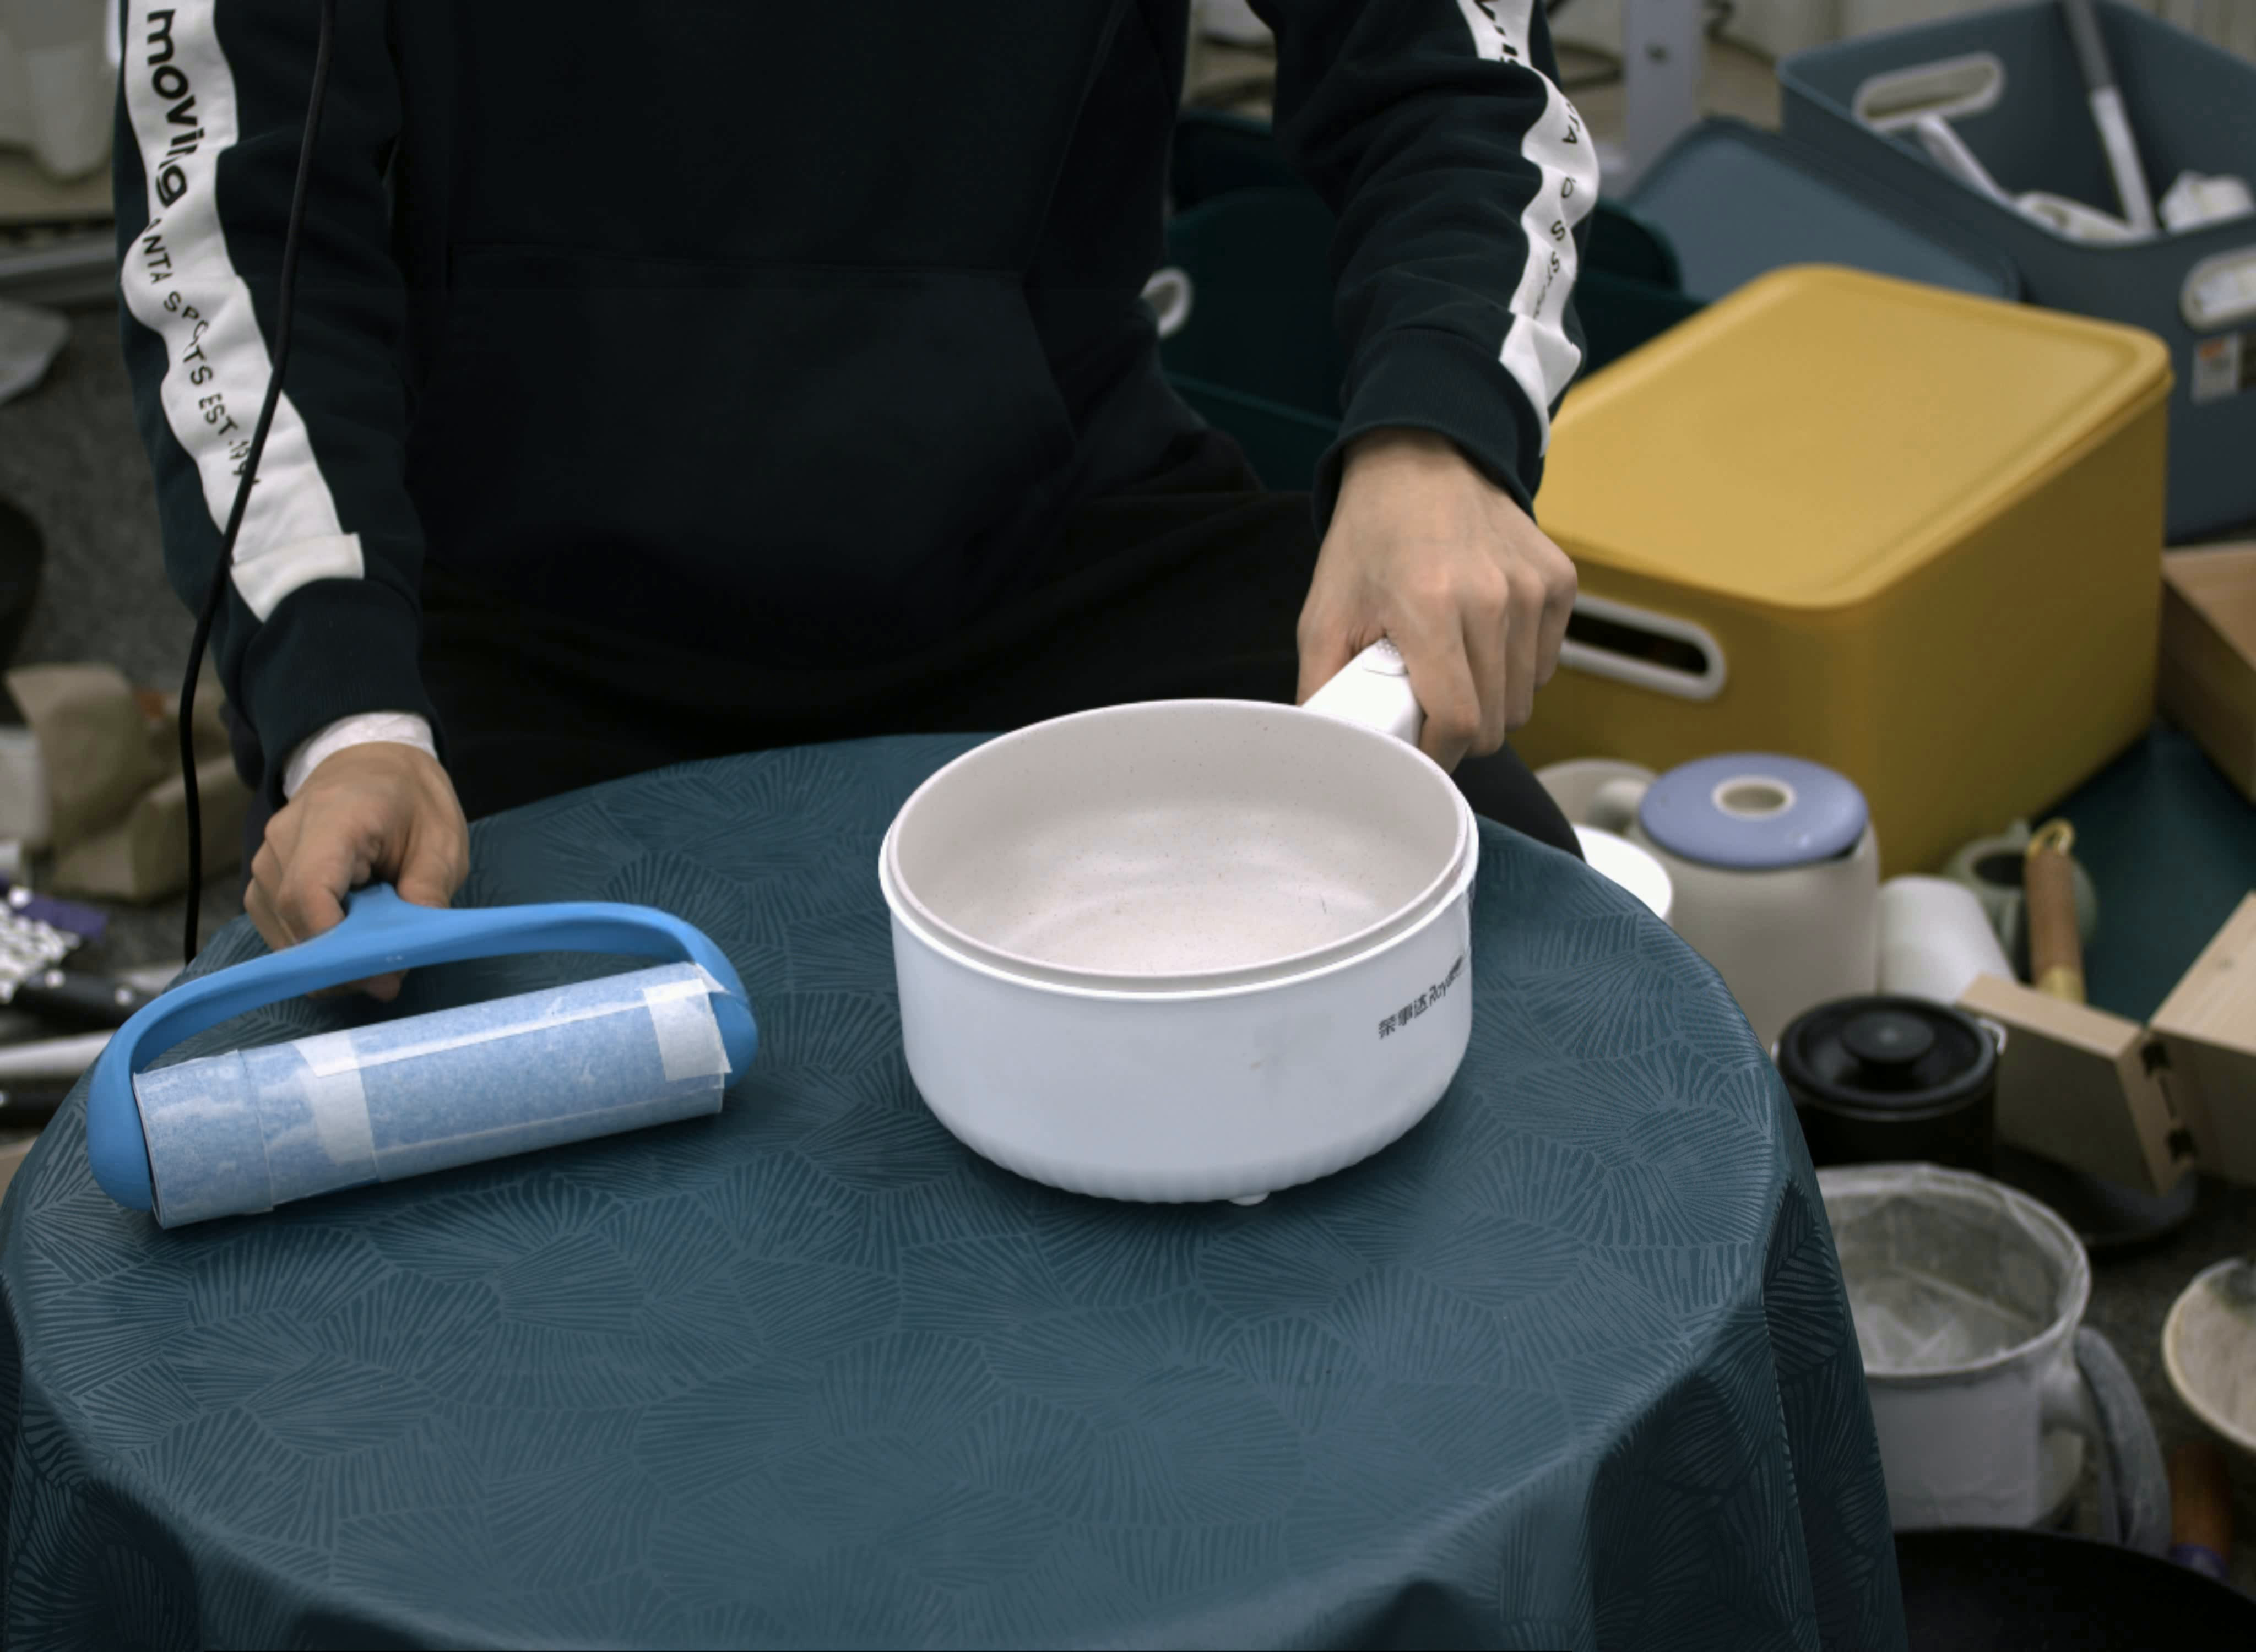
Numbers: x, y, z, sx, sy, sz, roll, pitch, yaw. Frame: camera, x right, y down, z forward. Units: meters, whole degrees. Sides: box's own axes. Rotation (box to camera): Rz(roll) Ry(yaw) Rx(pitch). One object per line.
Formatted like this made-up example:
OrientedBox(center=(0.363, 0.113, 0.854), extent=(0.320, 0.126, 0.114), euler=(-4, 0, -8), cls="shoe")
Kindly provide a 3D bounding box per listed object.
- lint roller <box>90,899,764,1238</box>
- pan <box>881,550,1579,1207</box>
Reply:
OrientedBox(center=(-0.254, 0.062, 1.931), extent=(0.229, 0.067, 0.182), euler=(-14, 33, -17), cls="lint roller")
OrientedBox(center=(0.058, 0.015, 1.954), extent=(0.200, 0.101, 0.360), euler=(12, 30, 28), cls="pan")
